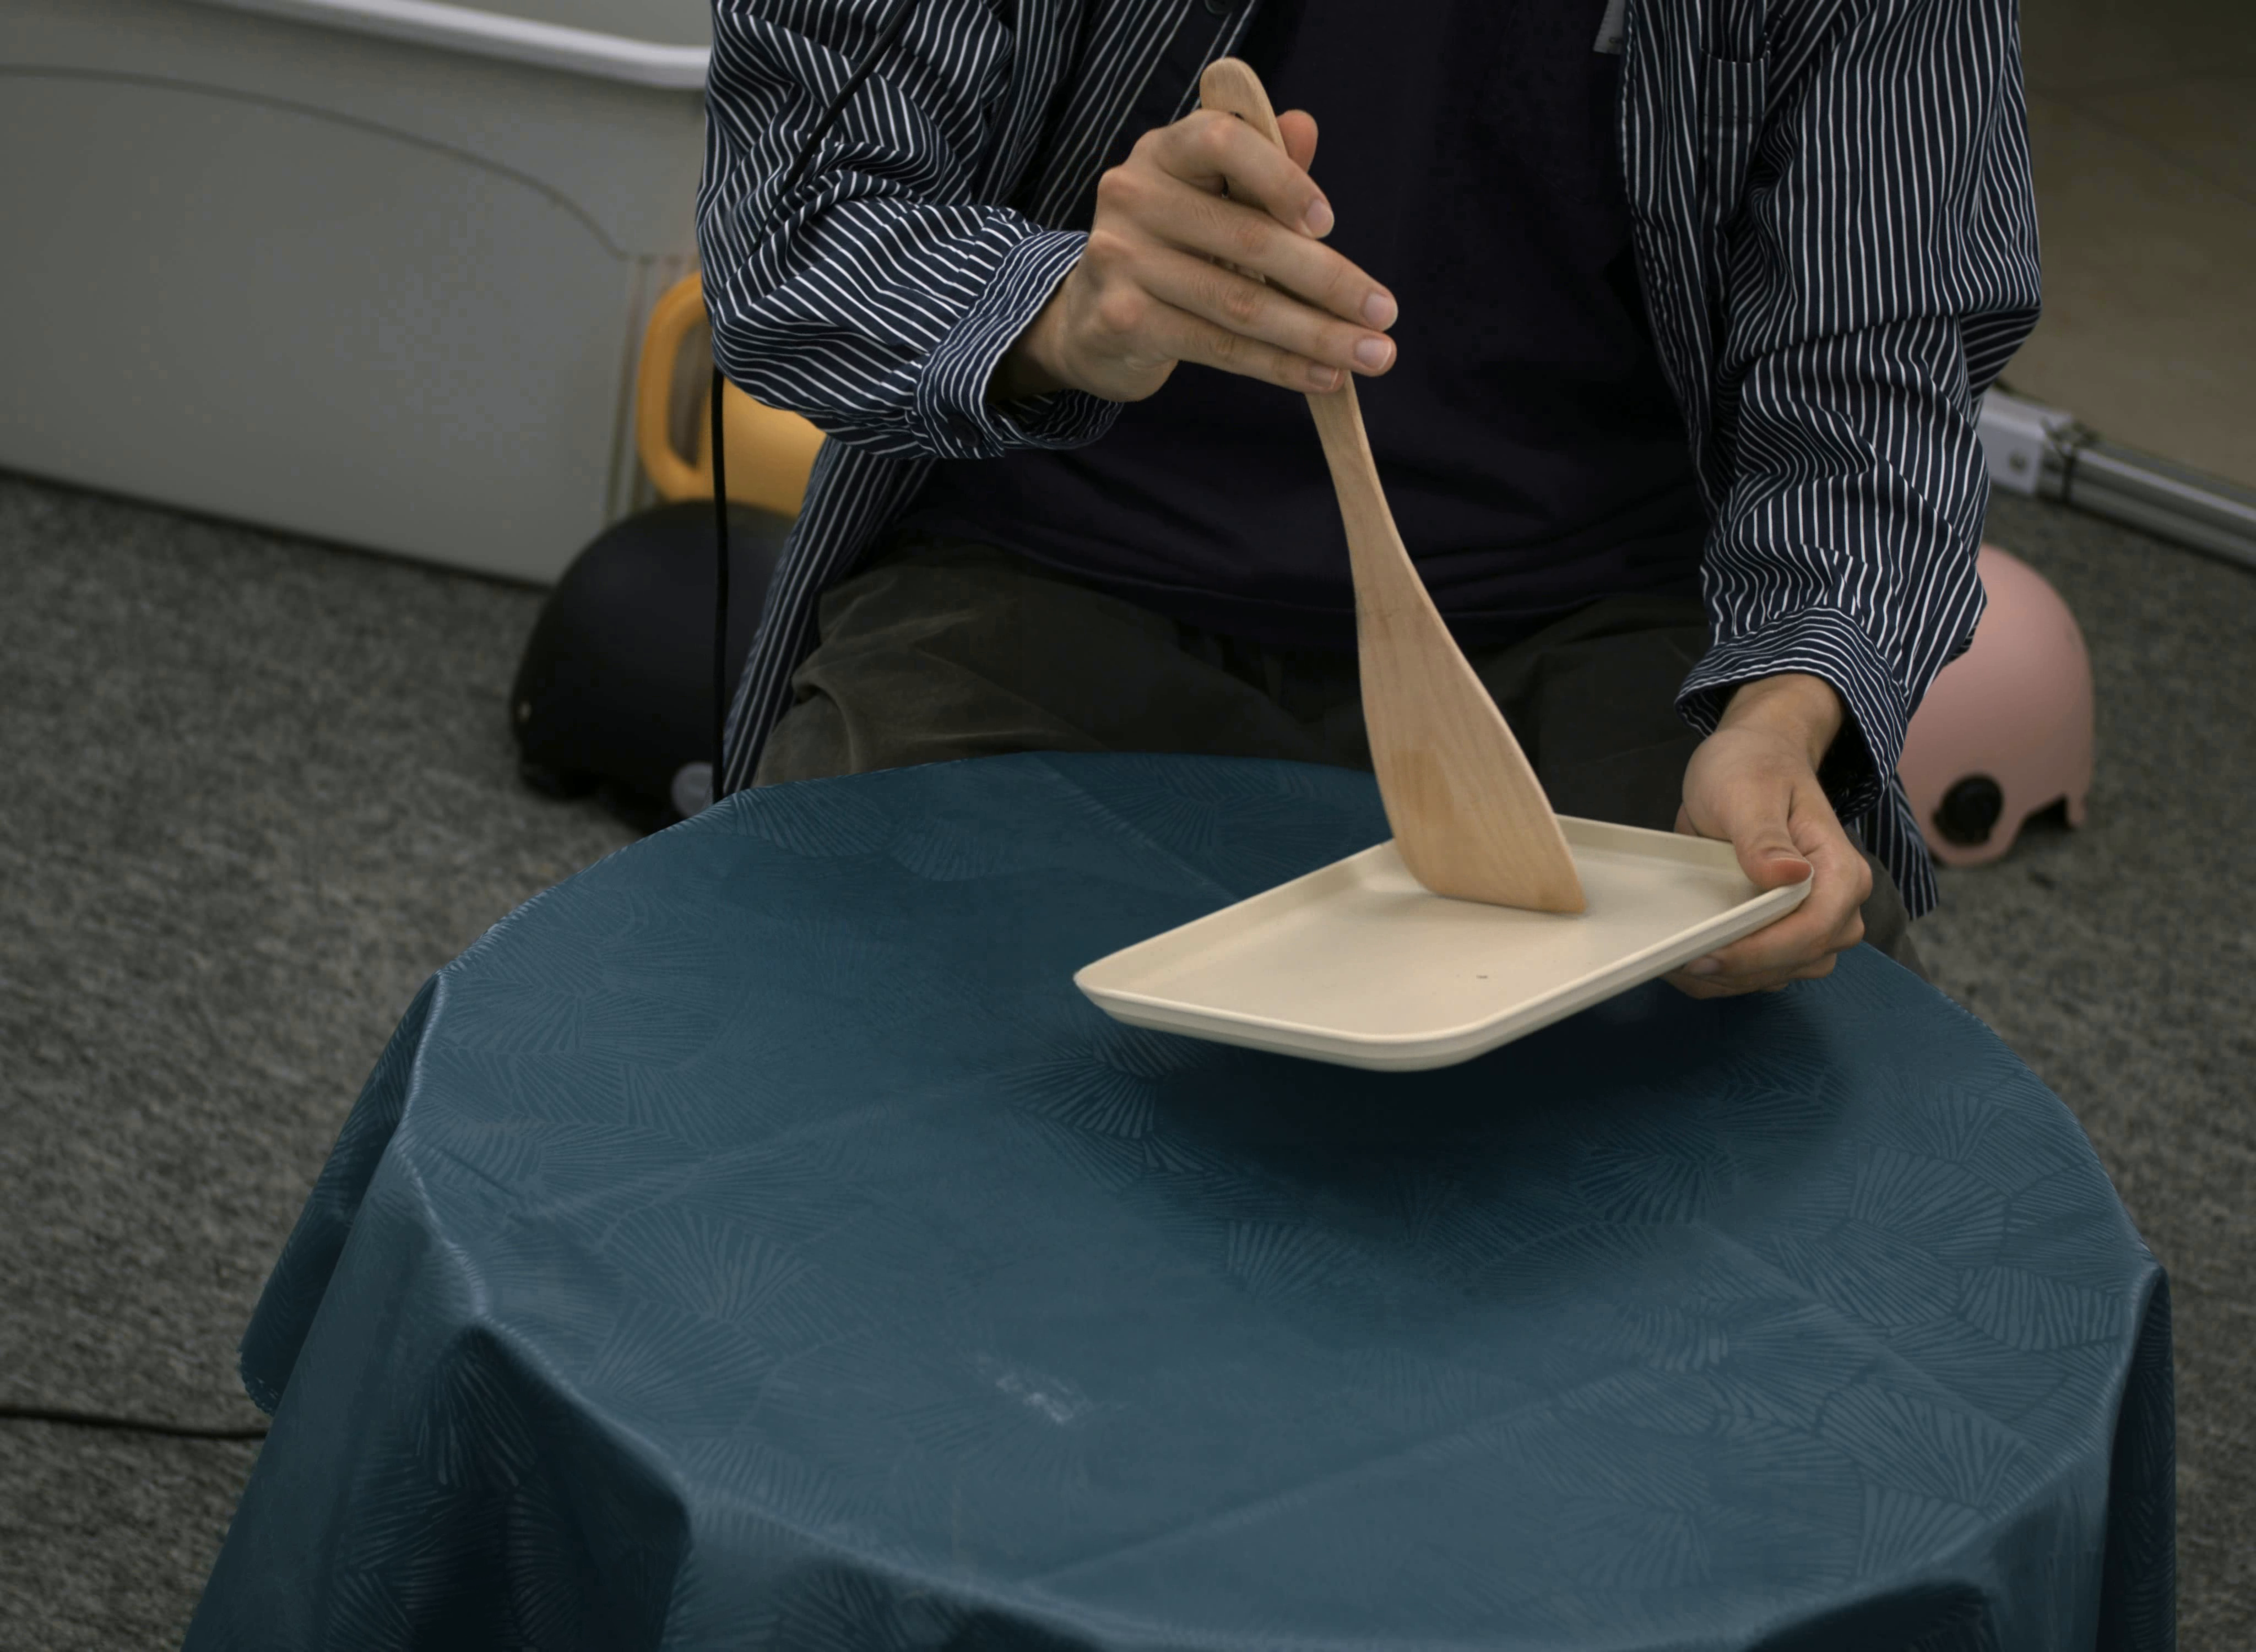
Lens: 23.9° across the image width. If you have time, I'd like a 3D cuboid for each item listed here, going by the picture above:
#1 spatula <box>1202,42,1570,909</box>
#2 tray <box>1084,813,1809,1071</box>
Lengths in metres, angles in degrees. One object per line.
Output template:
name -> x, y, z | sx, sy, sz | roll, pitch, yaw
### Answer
spatula -> 0.081, -0.119, 1.881 | 0.080, 0.327, 0.016 | -5, 17, 44
tray -> 0.114, 0.040, 1.868 | 0.172, 0.017, 0.238 | 9, 21, 42
